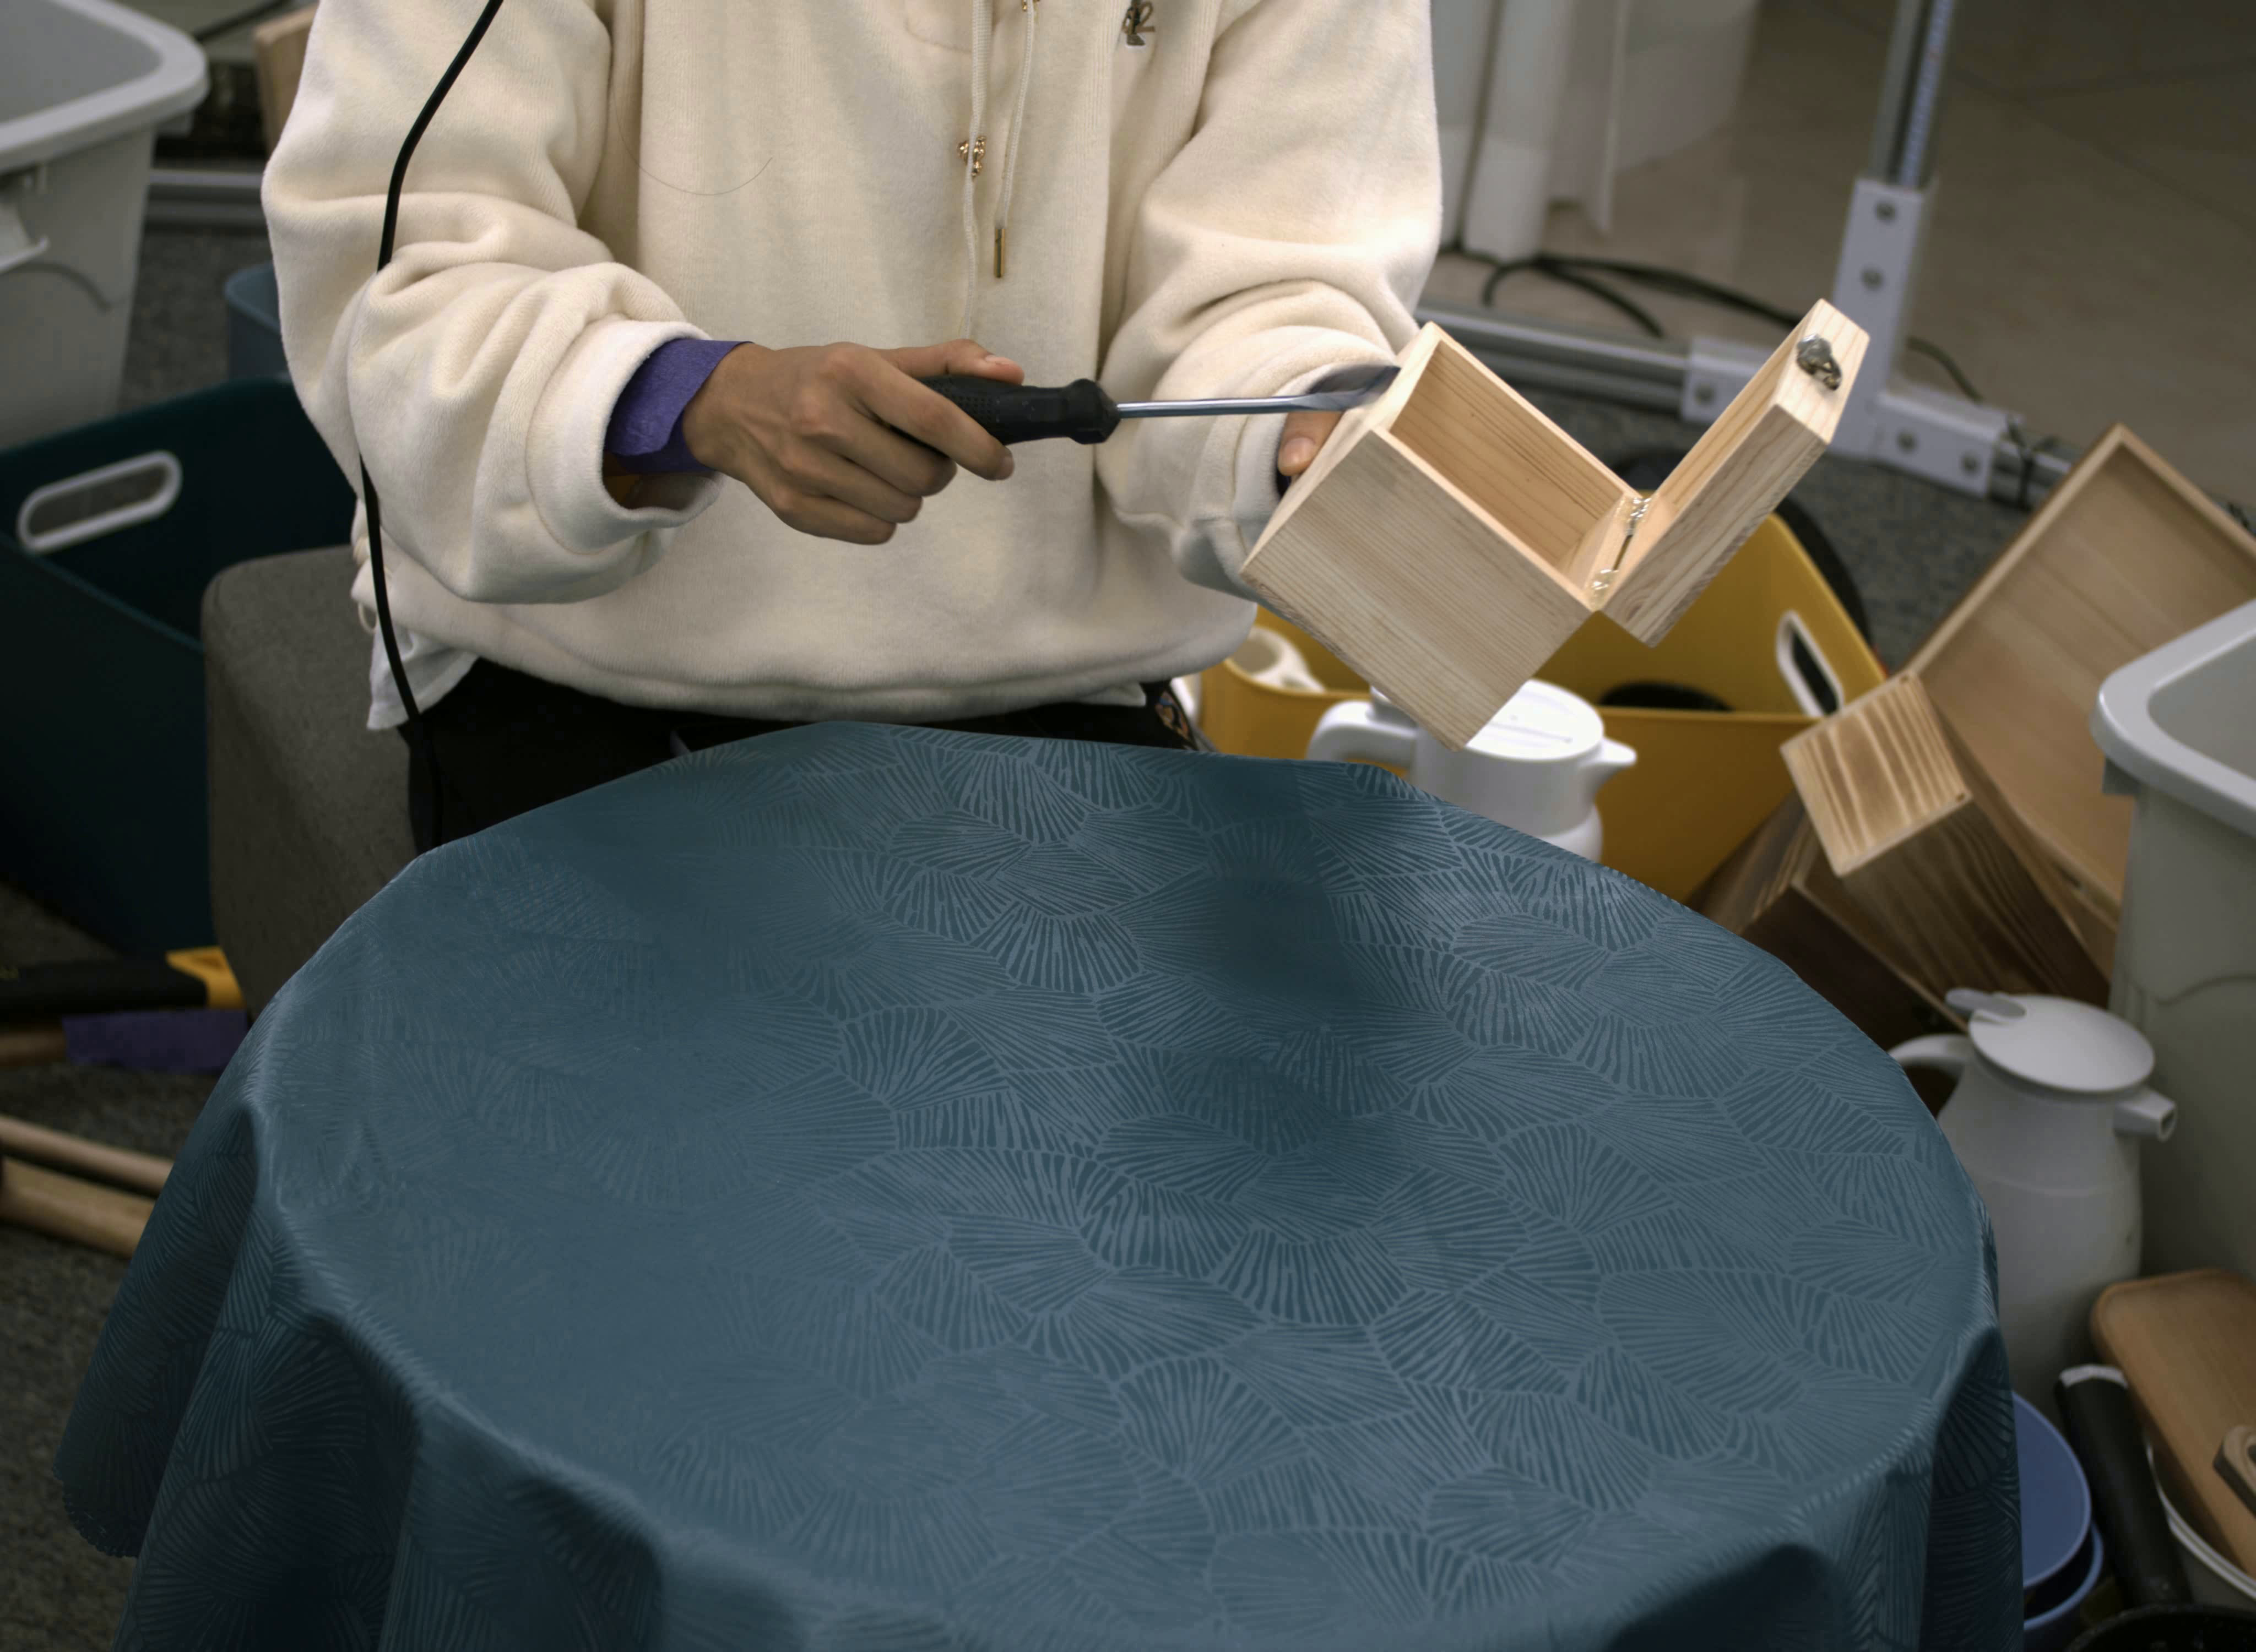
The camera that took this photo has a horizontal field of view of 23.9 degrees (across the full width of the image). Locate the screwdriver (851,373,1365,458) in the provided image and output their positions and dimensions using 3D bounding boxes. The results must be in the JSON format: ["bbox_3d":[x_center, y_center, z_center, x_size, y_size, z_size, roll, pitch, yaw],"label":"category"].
[{"bbox_3d":[-0.008,-0.146,1.902,0.198,0.031,0.031,3,23,24],"label":"screwdriver"}]

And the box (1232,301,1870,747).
[{"bbox_3d":[0.148,-0.132,1.864,0.133,0.184,0.103,40,31,-5],"label":"box"}]
